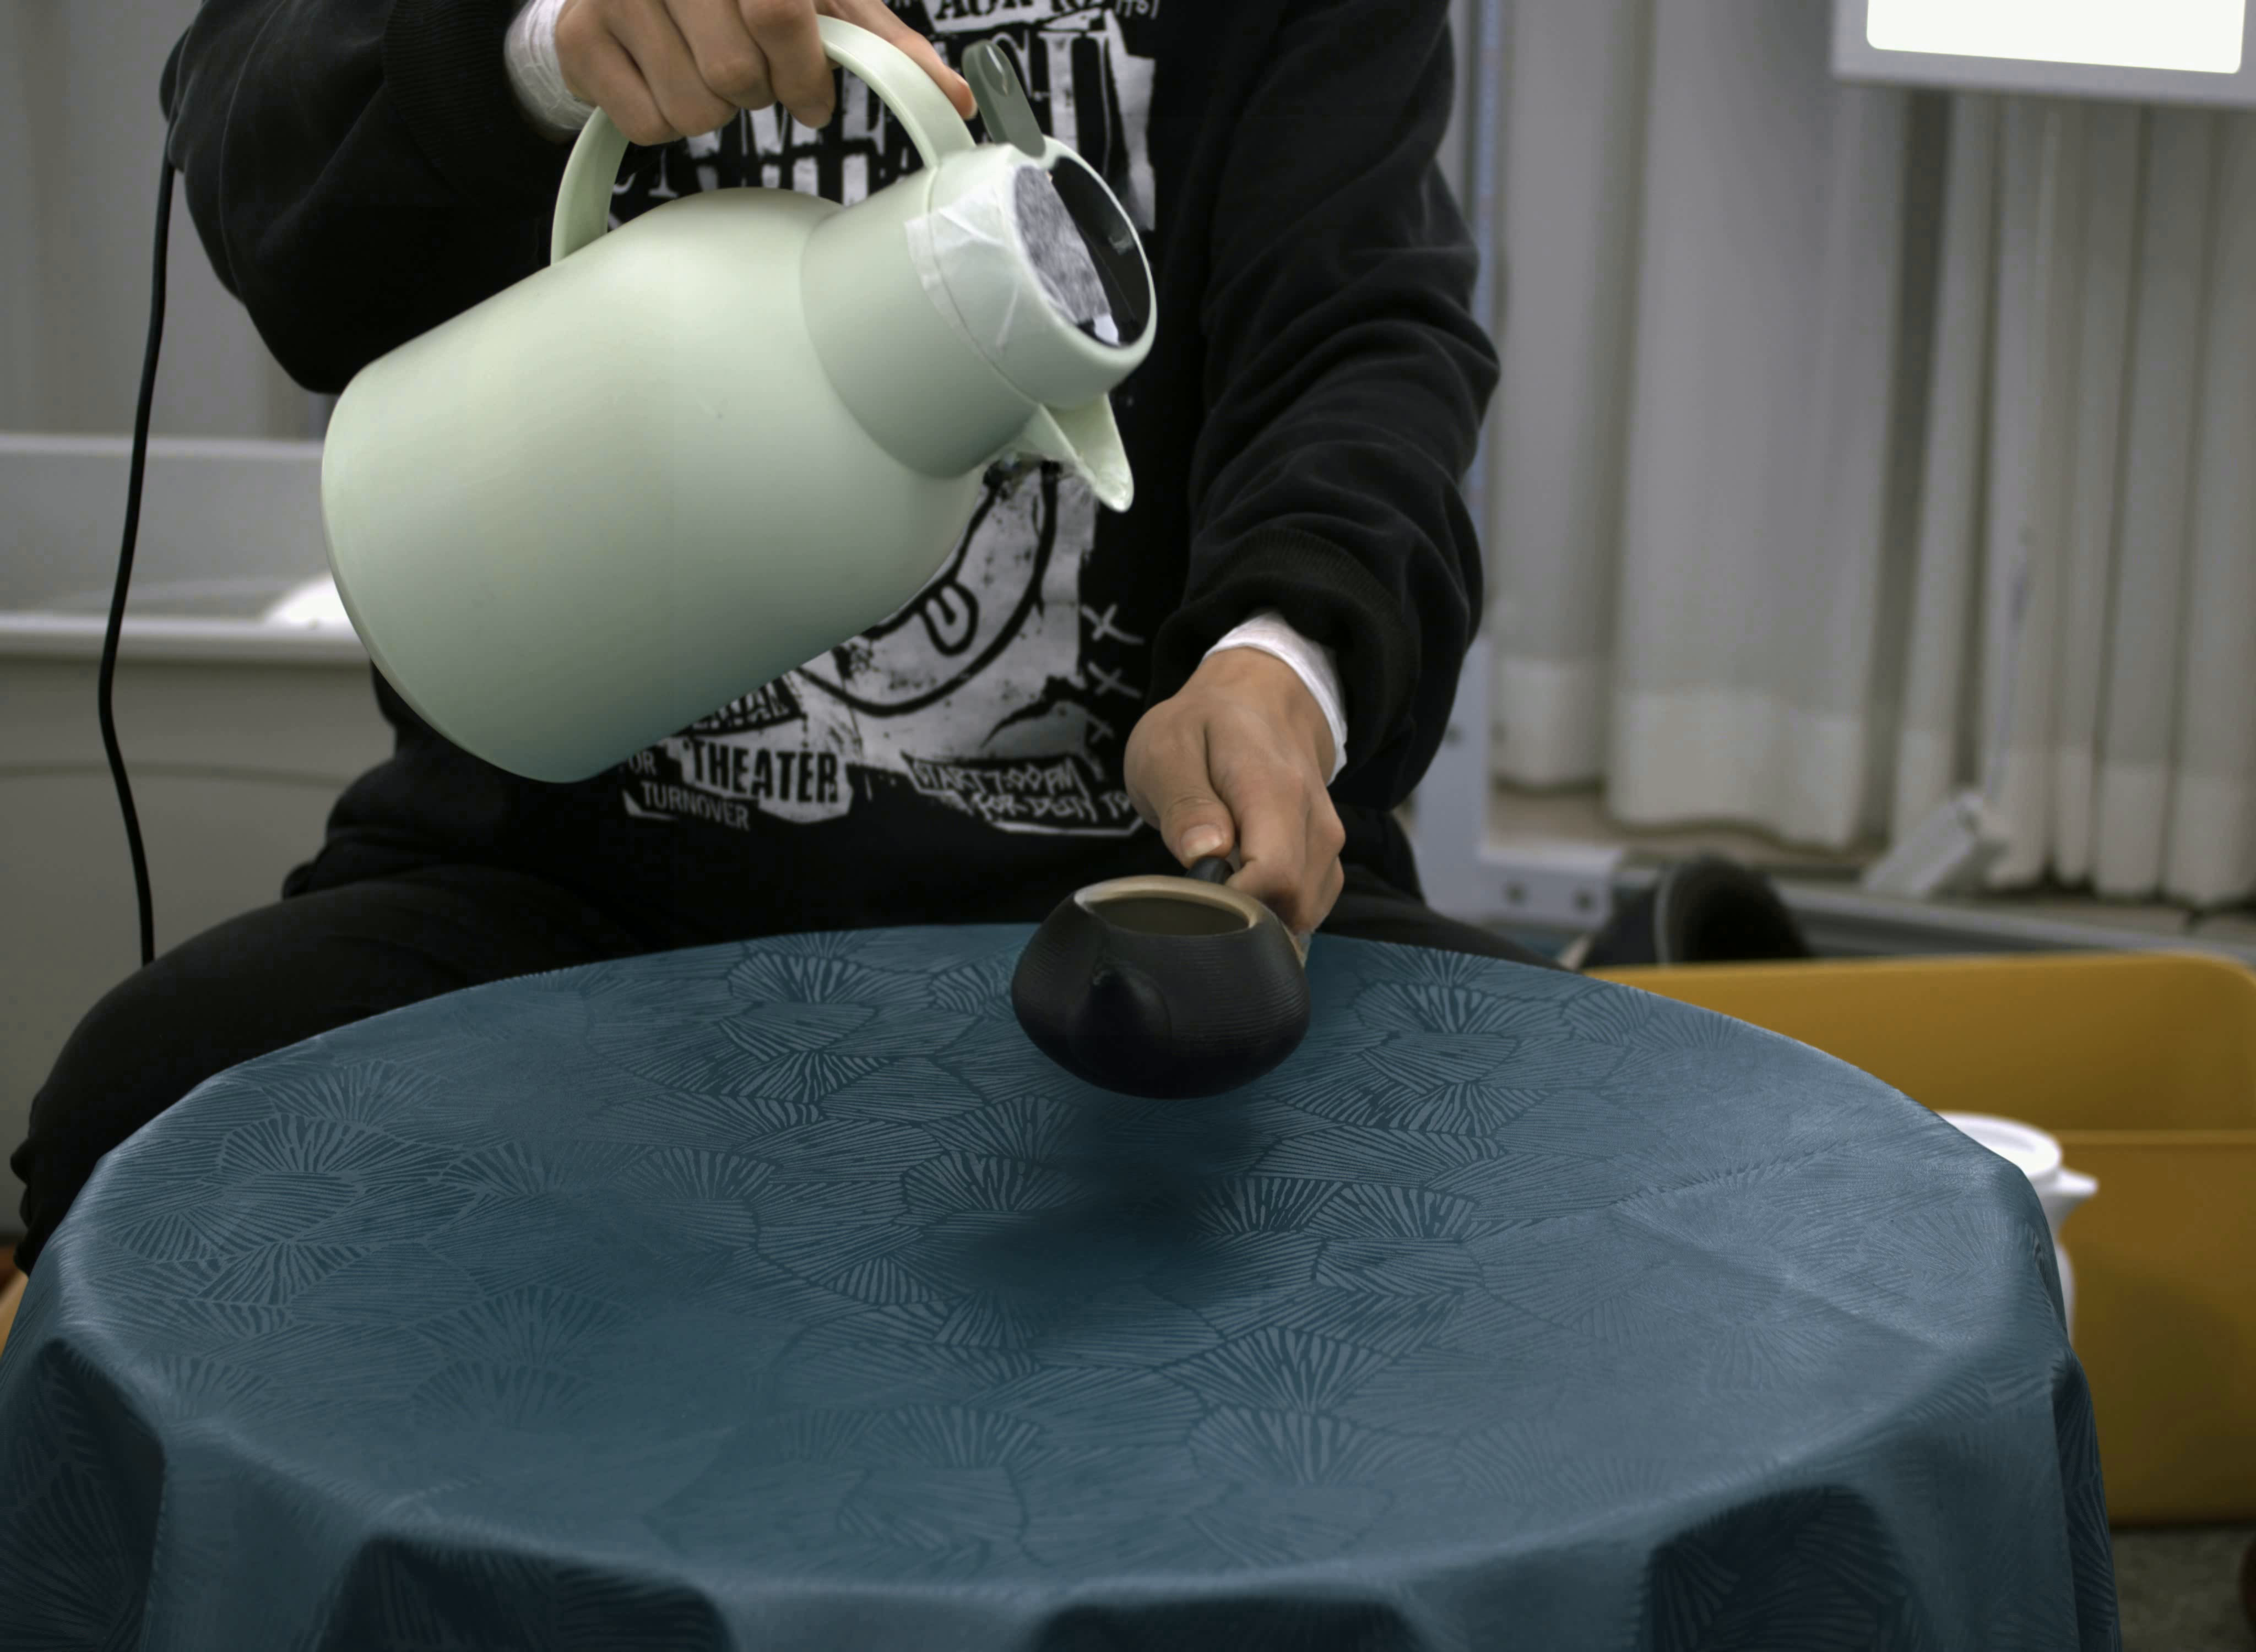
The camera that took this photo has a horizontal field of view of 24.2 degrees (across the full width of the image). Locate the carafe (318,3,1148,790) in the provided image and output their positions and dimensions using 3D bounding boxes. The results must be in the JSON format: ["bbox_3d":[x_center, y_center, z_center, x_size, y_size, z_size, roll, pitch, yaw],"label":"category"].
[{"bbox_3d":[-0.119,-0.135,1.574,0.256,0.187,0.144,-30,-1,30],"label":"carafe"}]

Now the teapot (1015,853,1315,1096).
[{"bbox_3d":[0.012,0.047,1.581,0.090,0.053,0.133,11,19,14],"label":"teapot"}]
